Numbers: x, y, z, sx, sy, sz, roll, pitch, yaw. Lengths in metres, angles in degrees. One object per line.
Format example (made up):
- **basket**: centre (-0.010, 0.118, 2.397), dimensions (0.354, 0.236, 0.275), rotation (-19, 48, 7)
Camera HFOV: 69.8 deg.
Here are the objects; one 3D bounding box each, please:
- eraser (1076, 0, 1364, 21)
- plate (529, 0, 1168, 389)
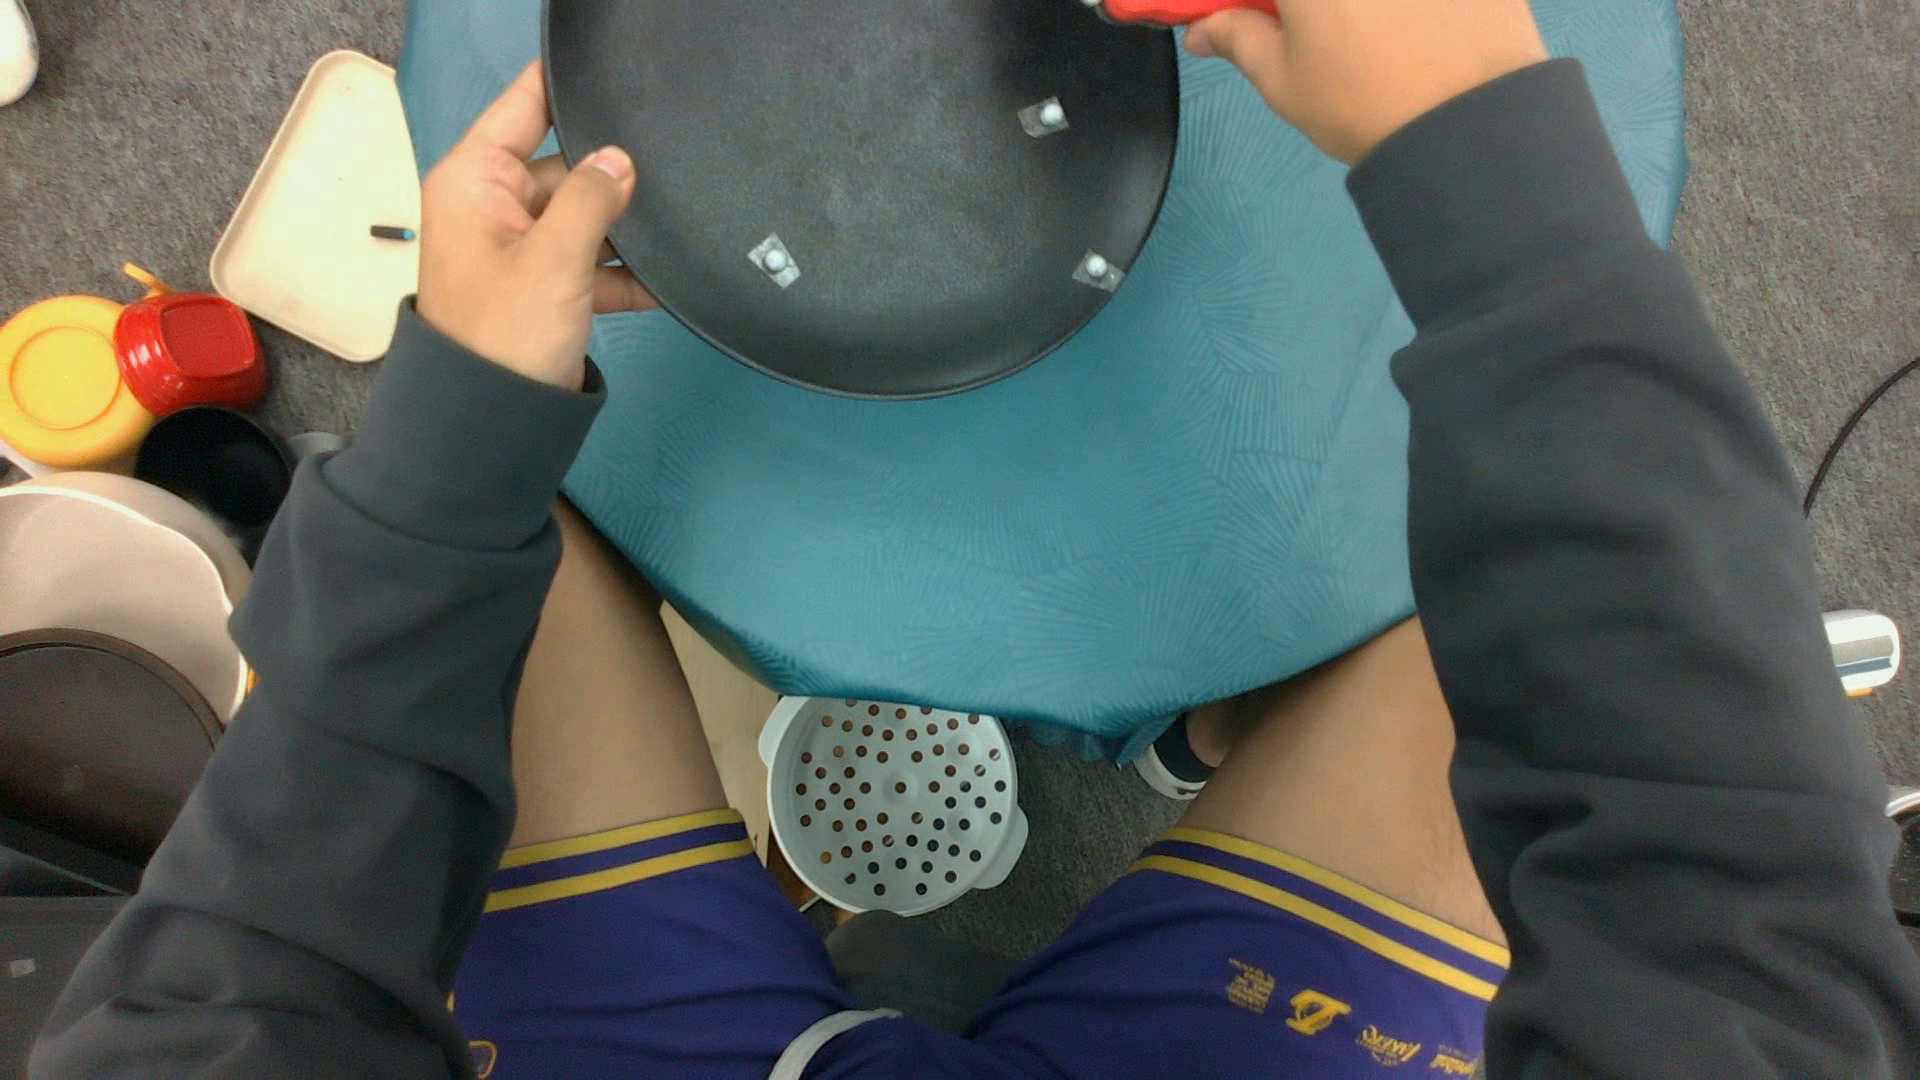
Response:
- **eraser**: centre (0.095, -0.218, 0.493), dimensions (0.108, 0.023, 0.059), rotation (-4, 99, -11)
- **plate**: centre (-0.036, -0.179, 0.522), dimensions (0.245, 0.023, 0.244), rotation (-1, 92, -17)
